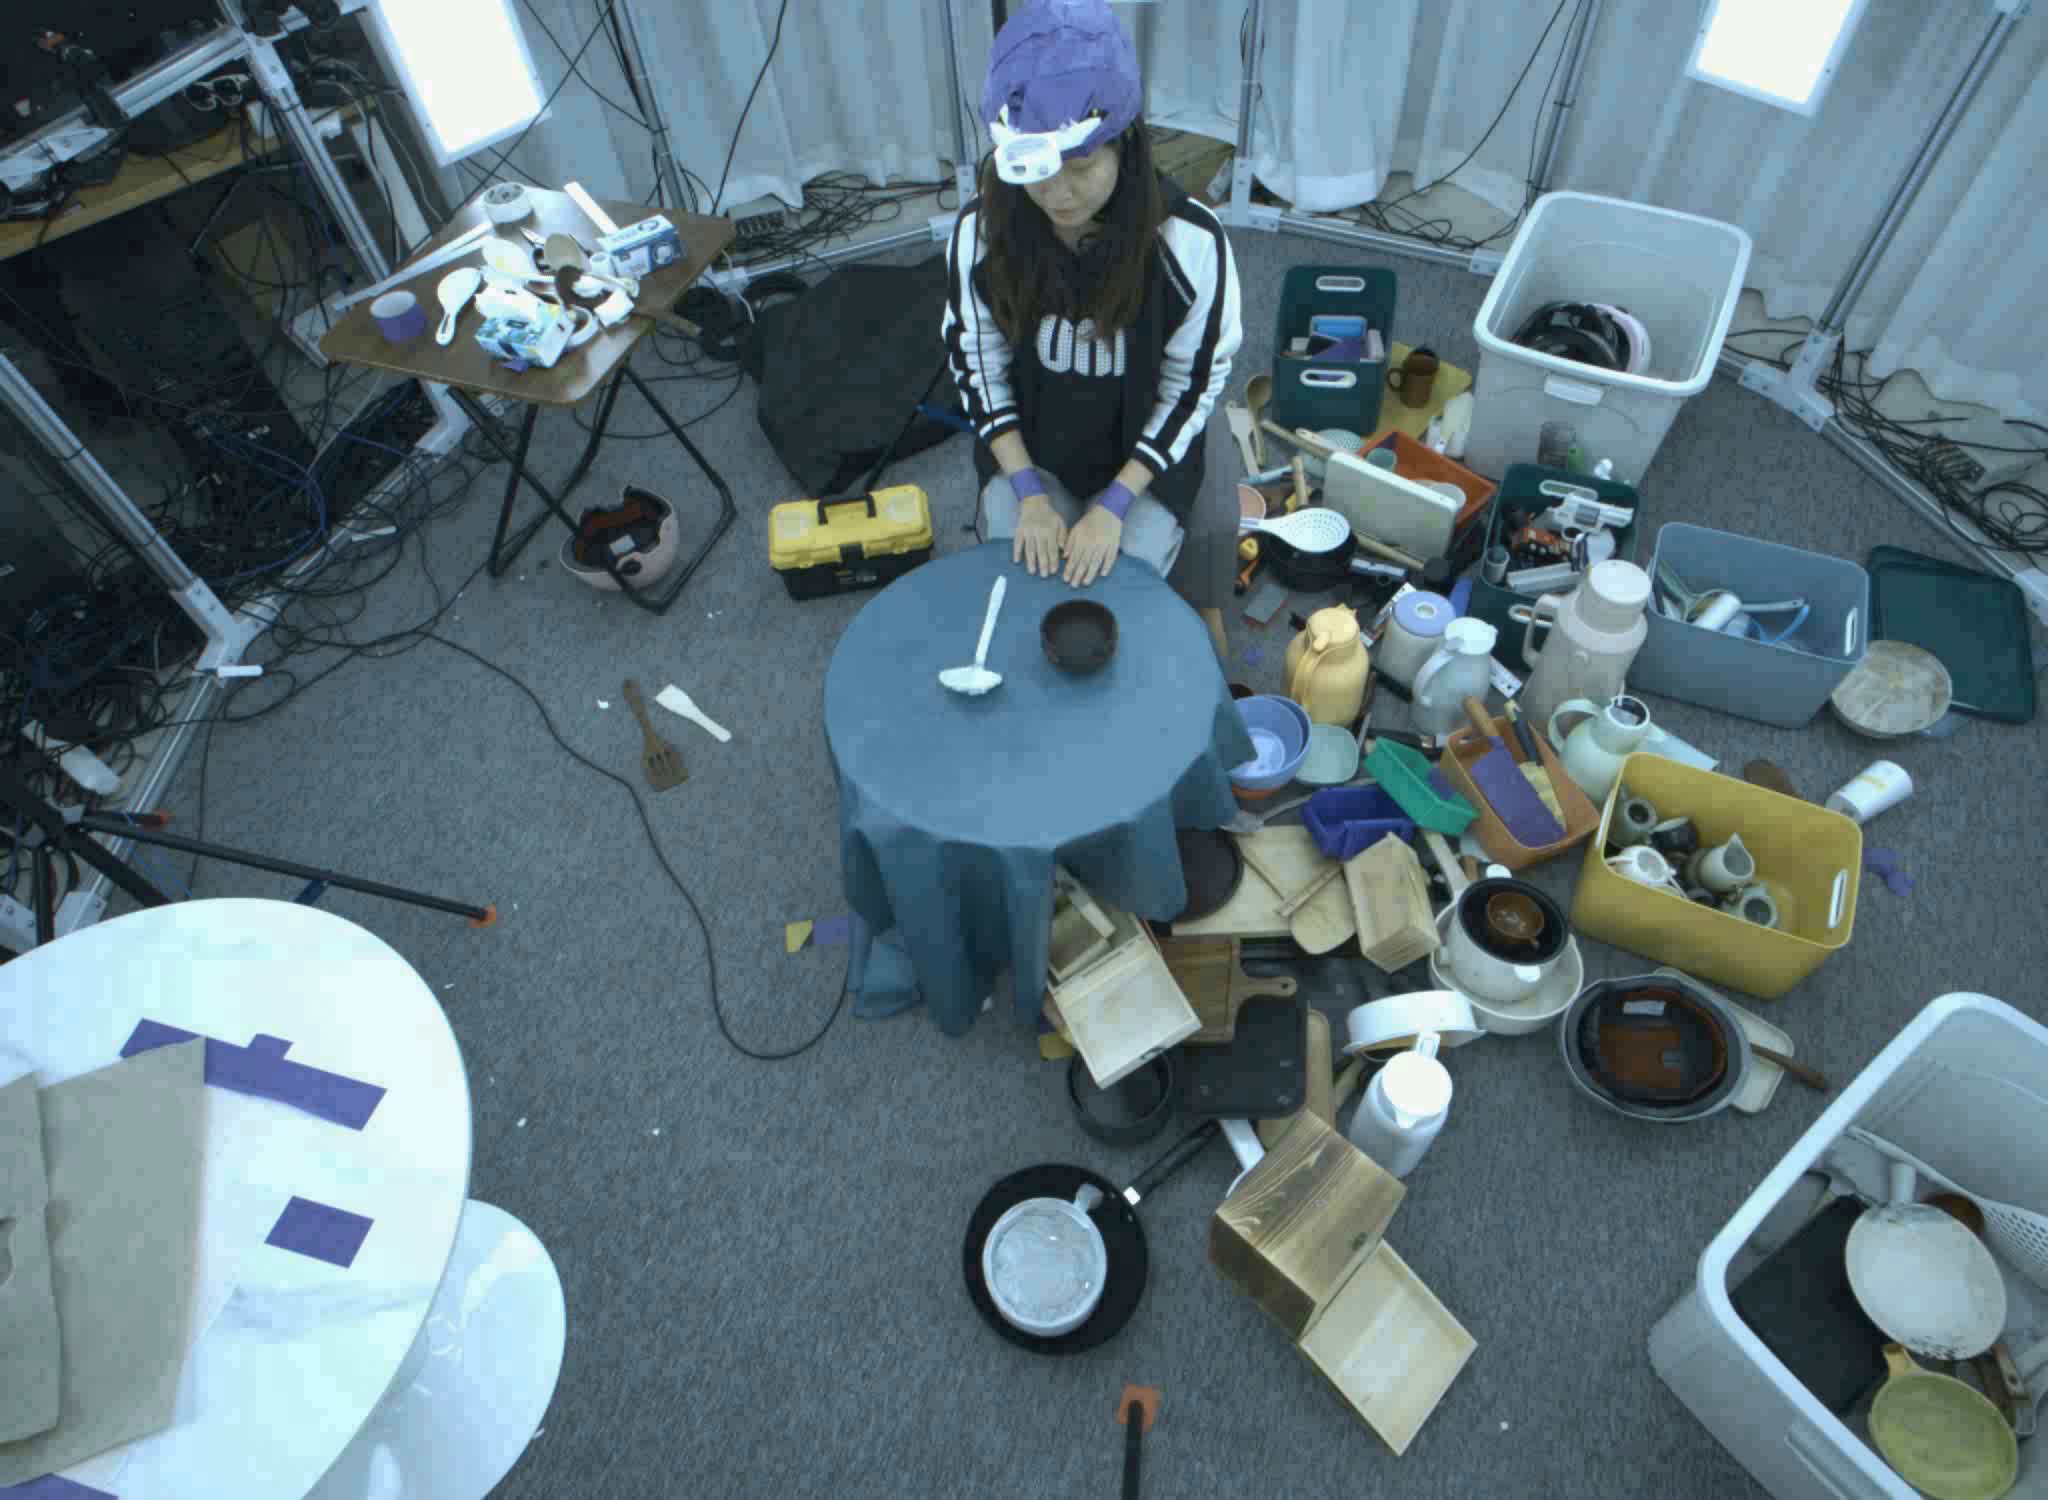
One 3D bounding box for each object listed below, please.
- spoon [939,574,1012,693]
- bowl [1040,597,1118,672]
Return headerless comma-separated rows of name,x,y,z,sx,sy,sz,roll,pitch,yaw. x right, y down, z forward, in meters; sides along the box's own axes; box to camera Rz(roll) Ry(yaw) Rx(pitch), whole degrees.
spoon,-0.054,-0.186,1.886,0.100,0.060,0.276,12,56,6
bowl,0.083,-0.166,1.857,0.118,0.070,0.117,0,55,2
